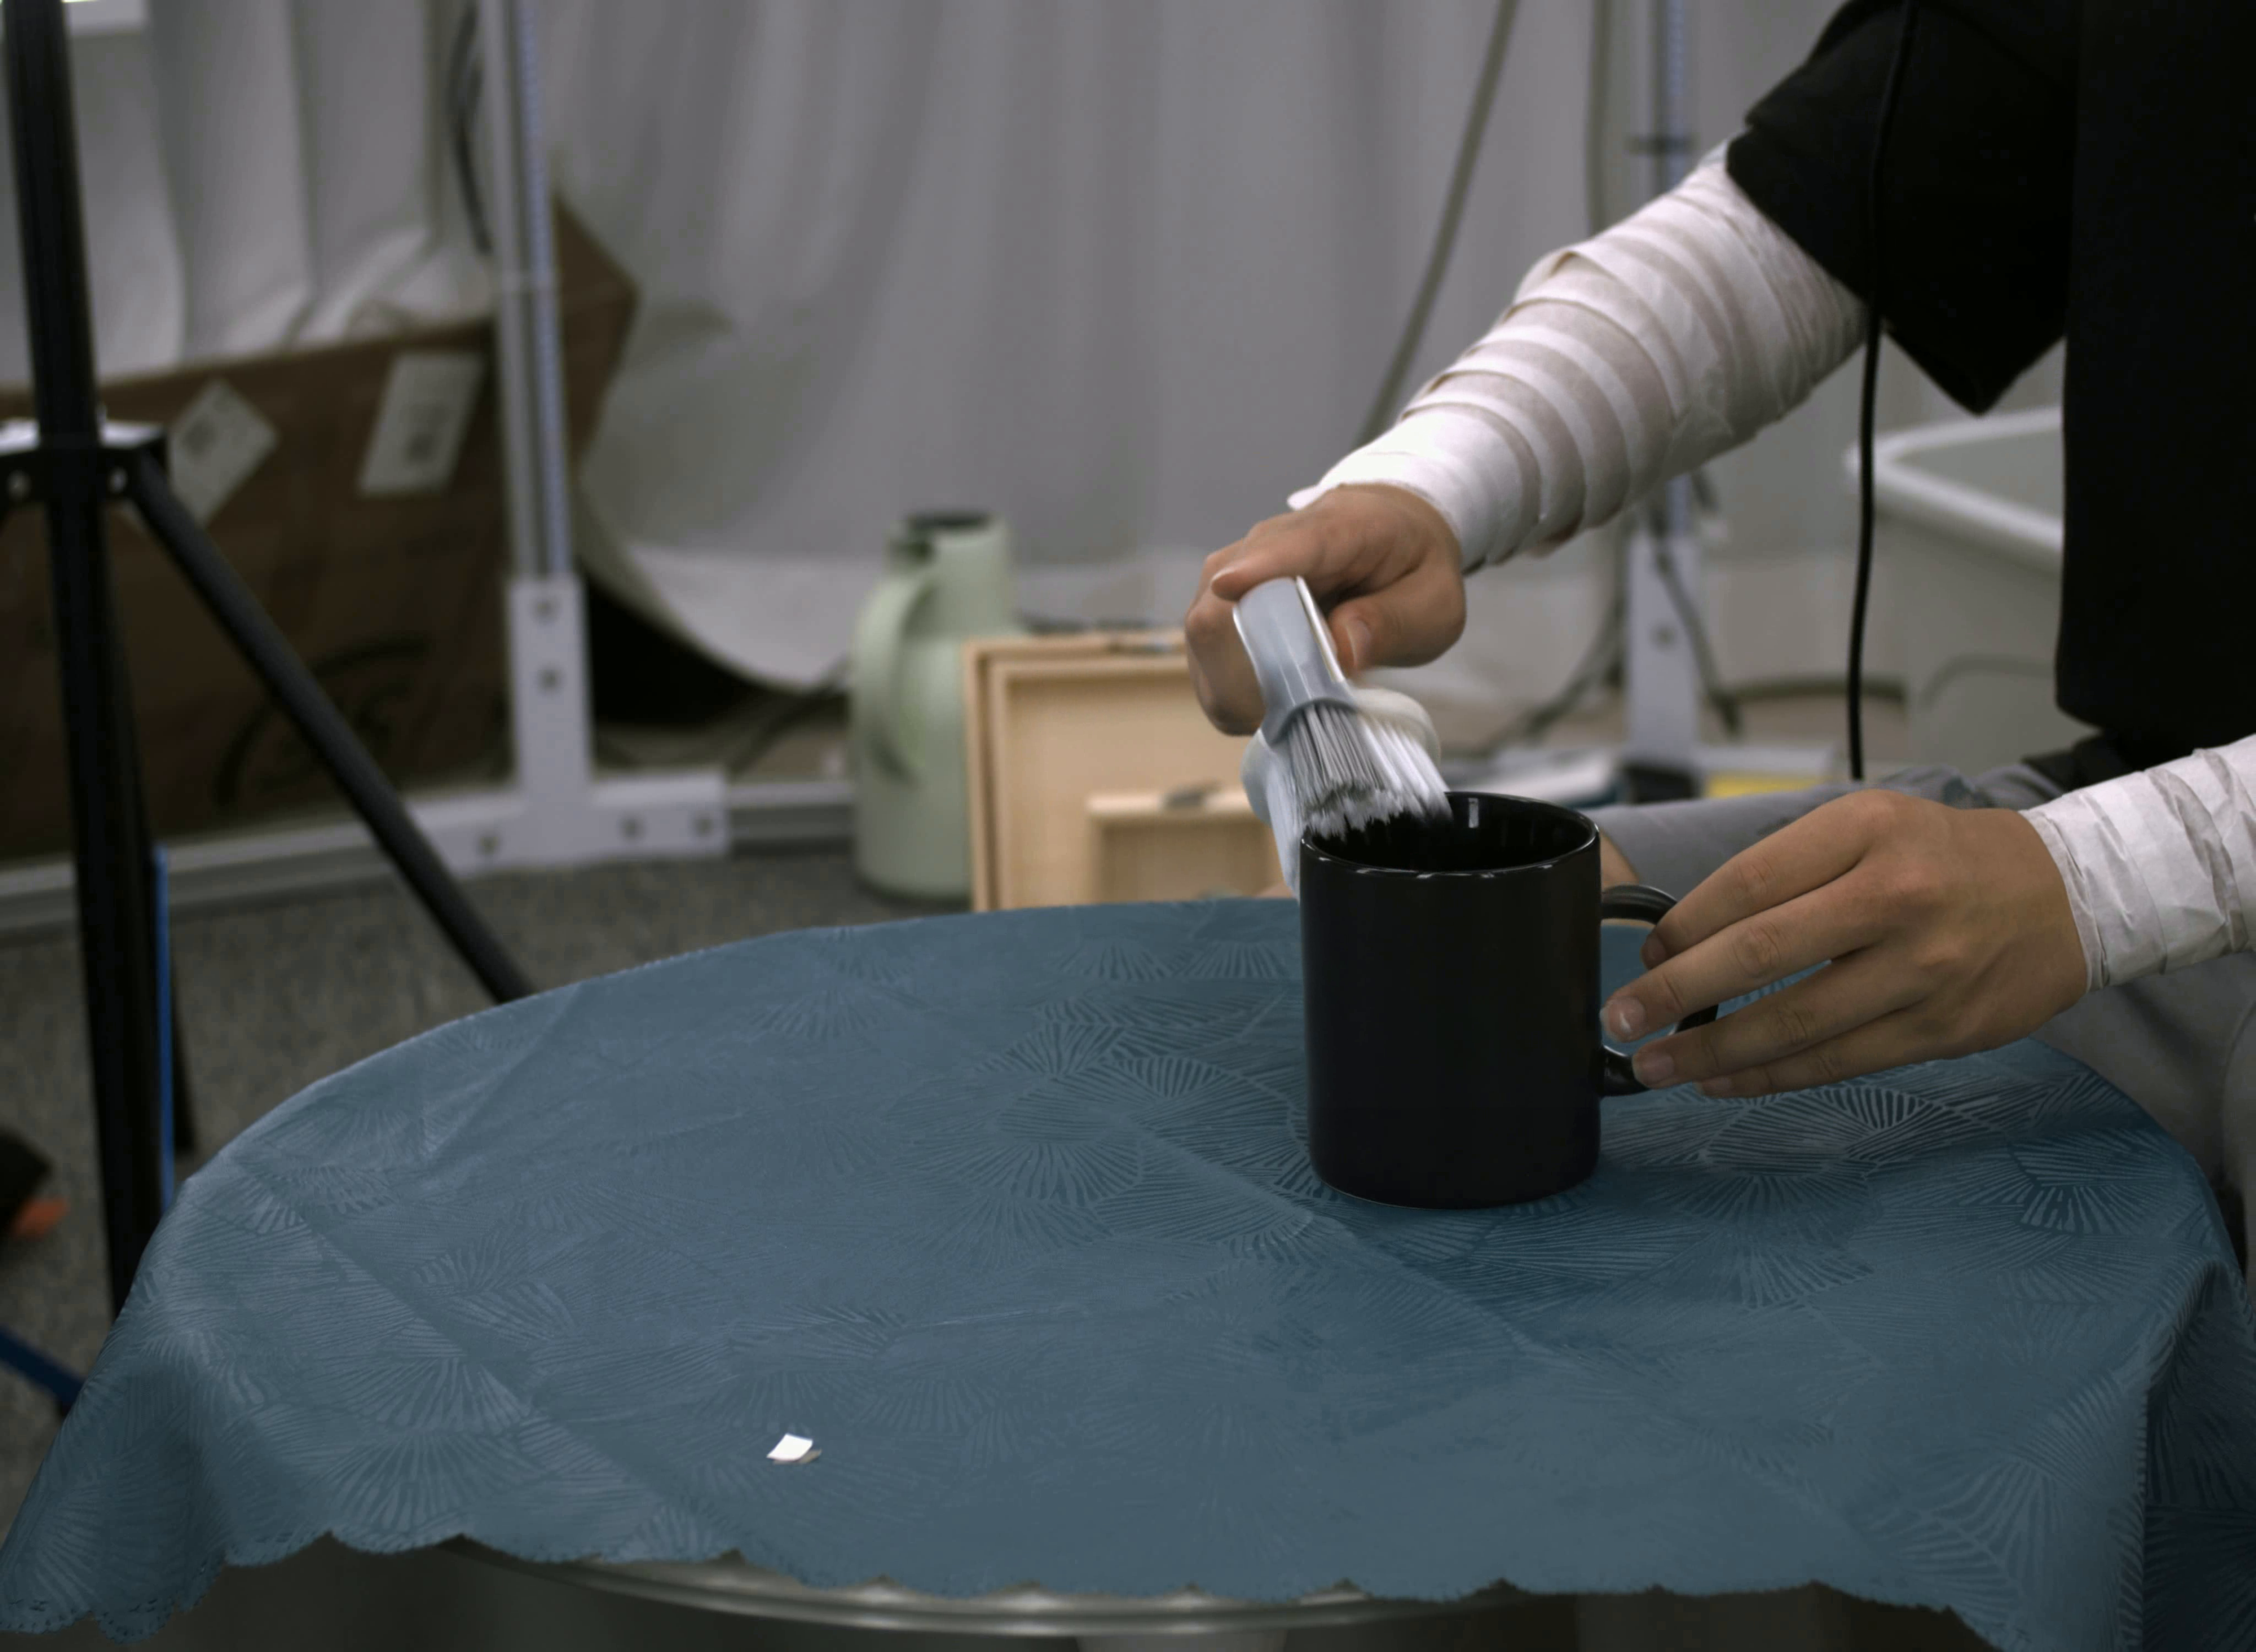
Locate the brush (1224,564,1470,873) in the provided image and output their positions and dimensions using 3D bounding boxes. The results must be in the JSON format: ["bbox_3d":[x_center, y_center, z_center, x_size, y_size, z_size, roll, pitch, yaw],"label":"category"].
[{"bbox_3d":[0.059,-0.037,1.610,0.061,0.095,0.174,-25,-10,4],"label":"brush"}]

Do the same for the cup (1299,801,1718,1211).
[{"bbox_3d":[0.112,0.052,1.557,0.123,0.105,0.089,0,10,1],"label":"cup"}]
